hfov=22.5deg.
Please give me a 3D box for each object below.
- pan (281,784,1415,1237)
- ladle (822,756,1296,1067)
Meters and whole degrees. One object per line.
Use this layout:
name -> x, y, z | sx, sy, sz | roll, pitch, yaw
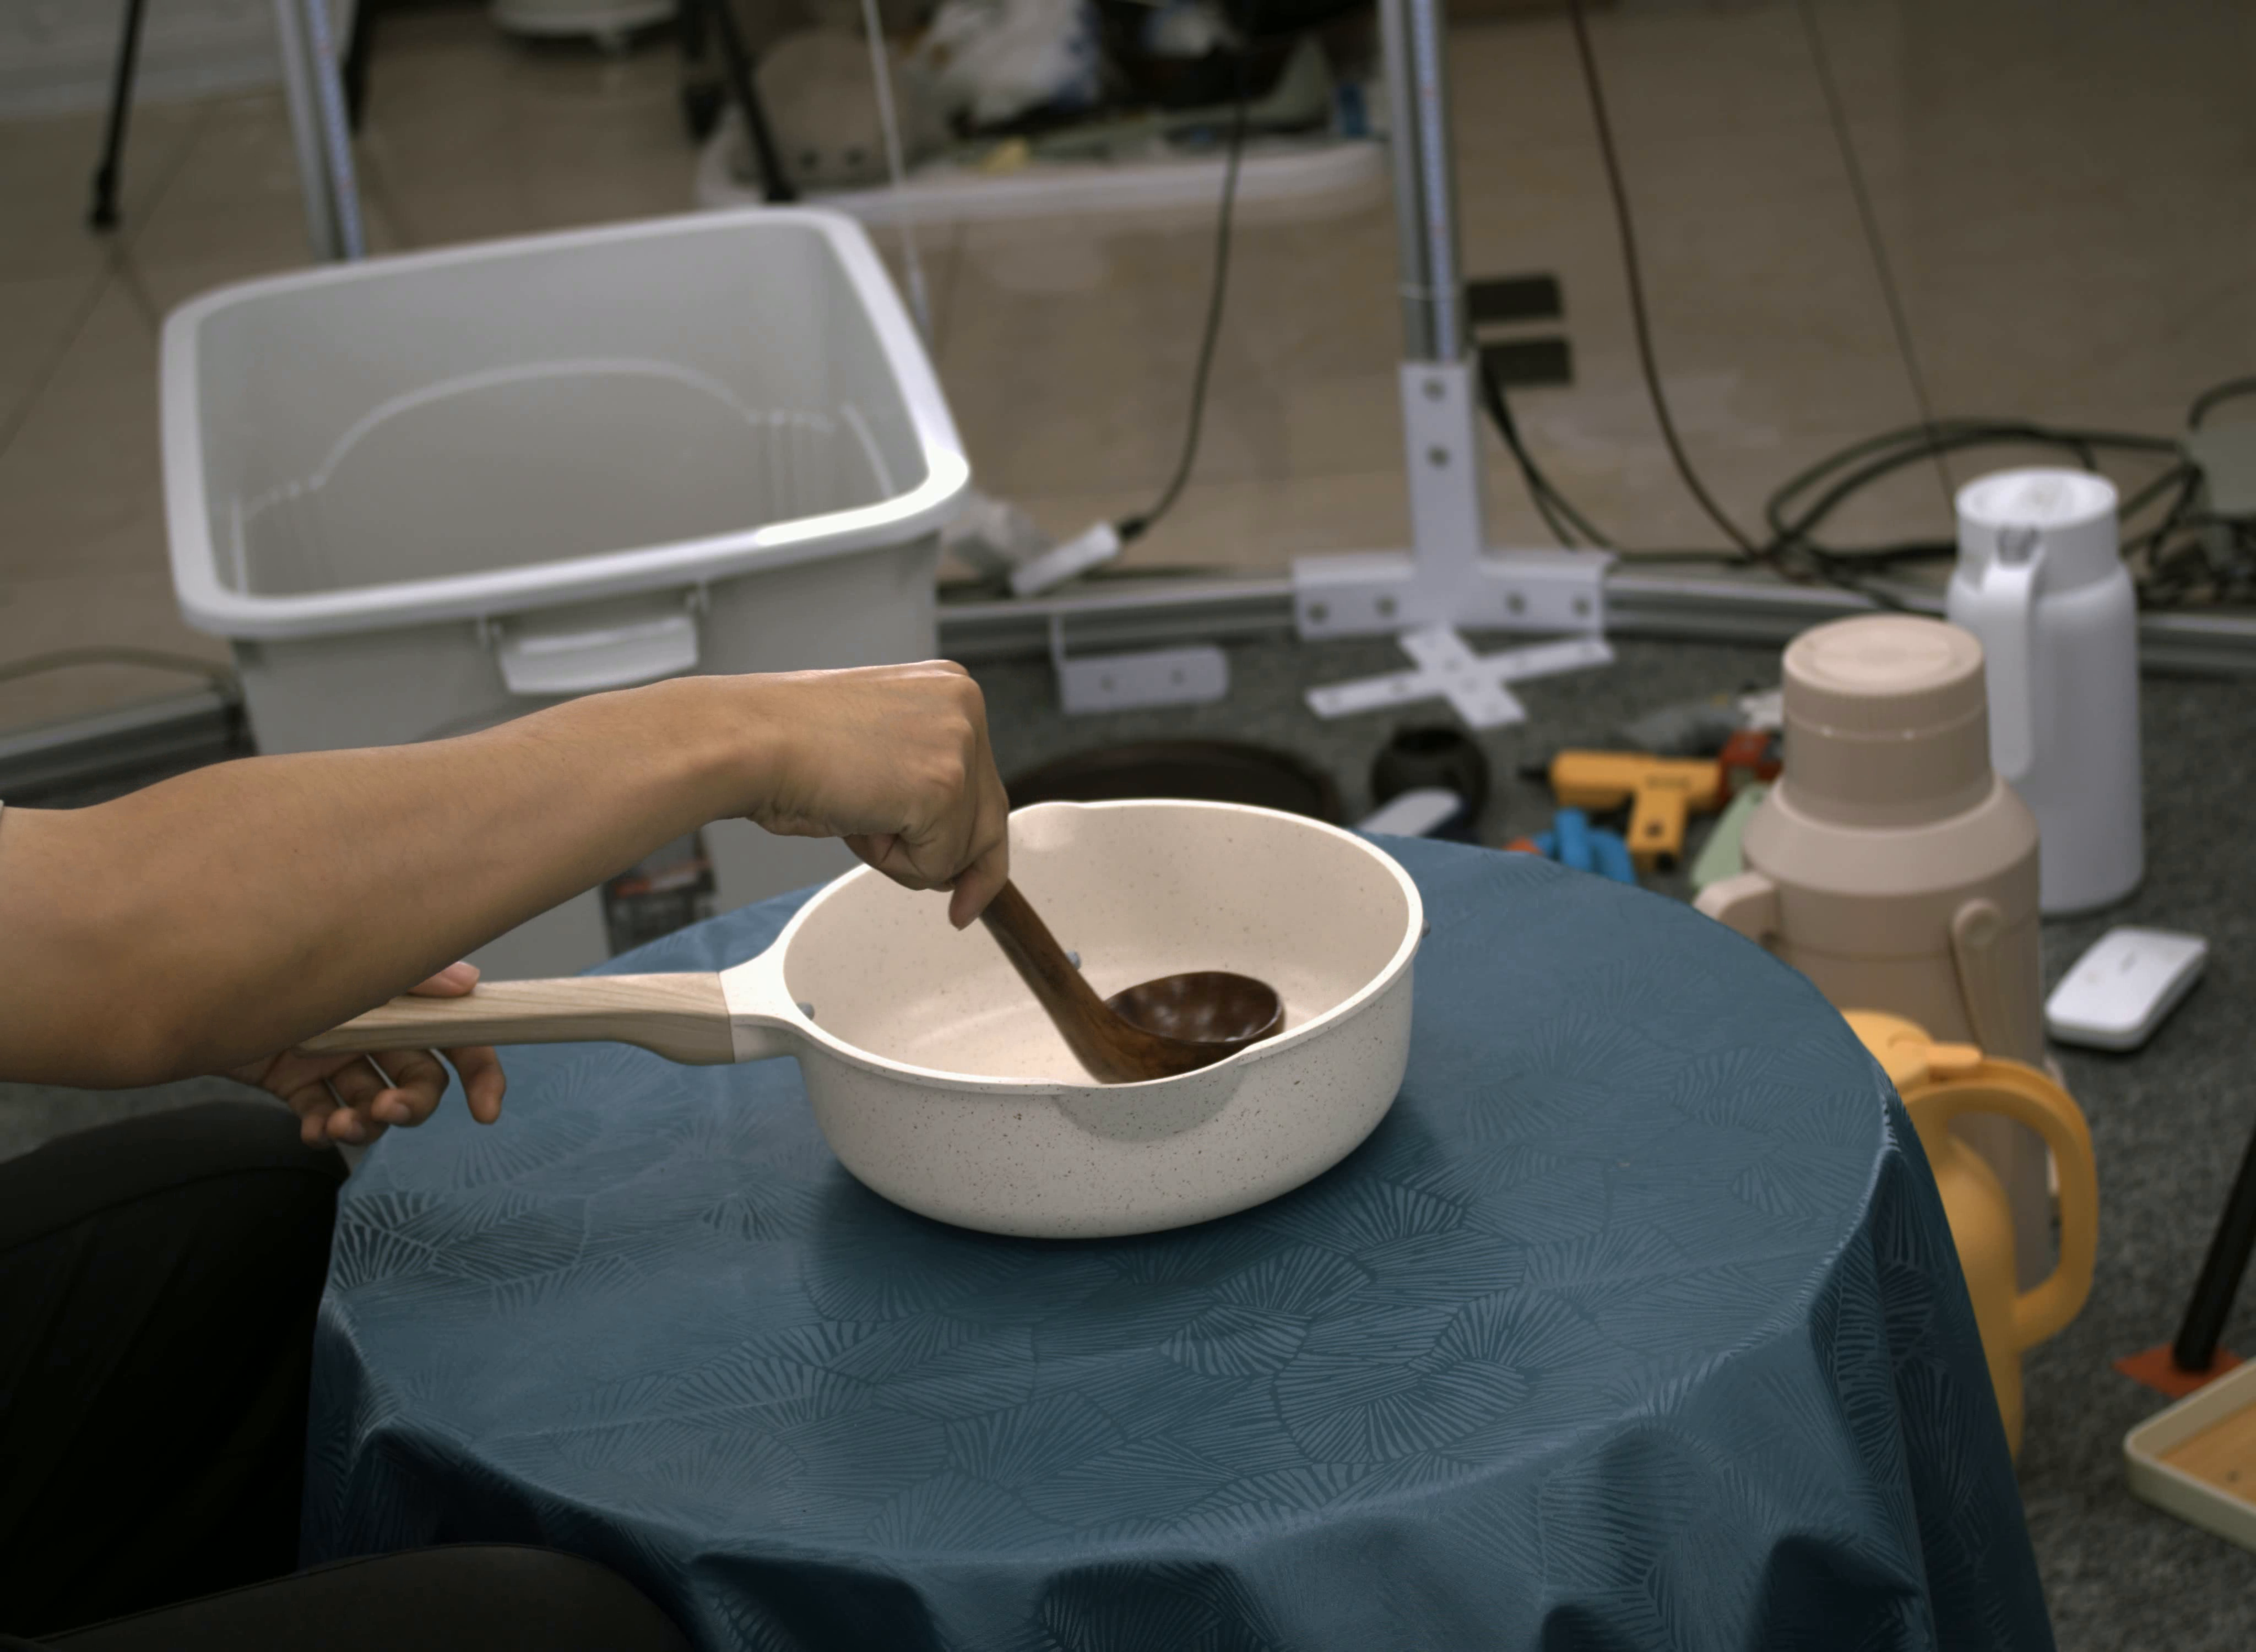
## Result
pan -> -0.102, 0.083, 2.177 | 0.434, 0.103, 0.259 | -10, 27, -7
ladle -> -0.024, 0.022, 2.051 | 0.082, 0.278, 0.075 | 0, 59, 31
